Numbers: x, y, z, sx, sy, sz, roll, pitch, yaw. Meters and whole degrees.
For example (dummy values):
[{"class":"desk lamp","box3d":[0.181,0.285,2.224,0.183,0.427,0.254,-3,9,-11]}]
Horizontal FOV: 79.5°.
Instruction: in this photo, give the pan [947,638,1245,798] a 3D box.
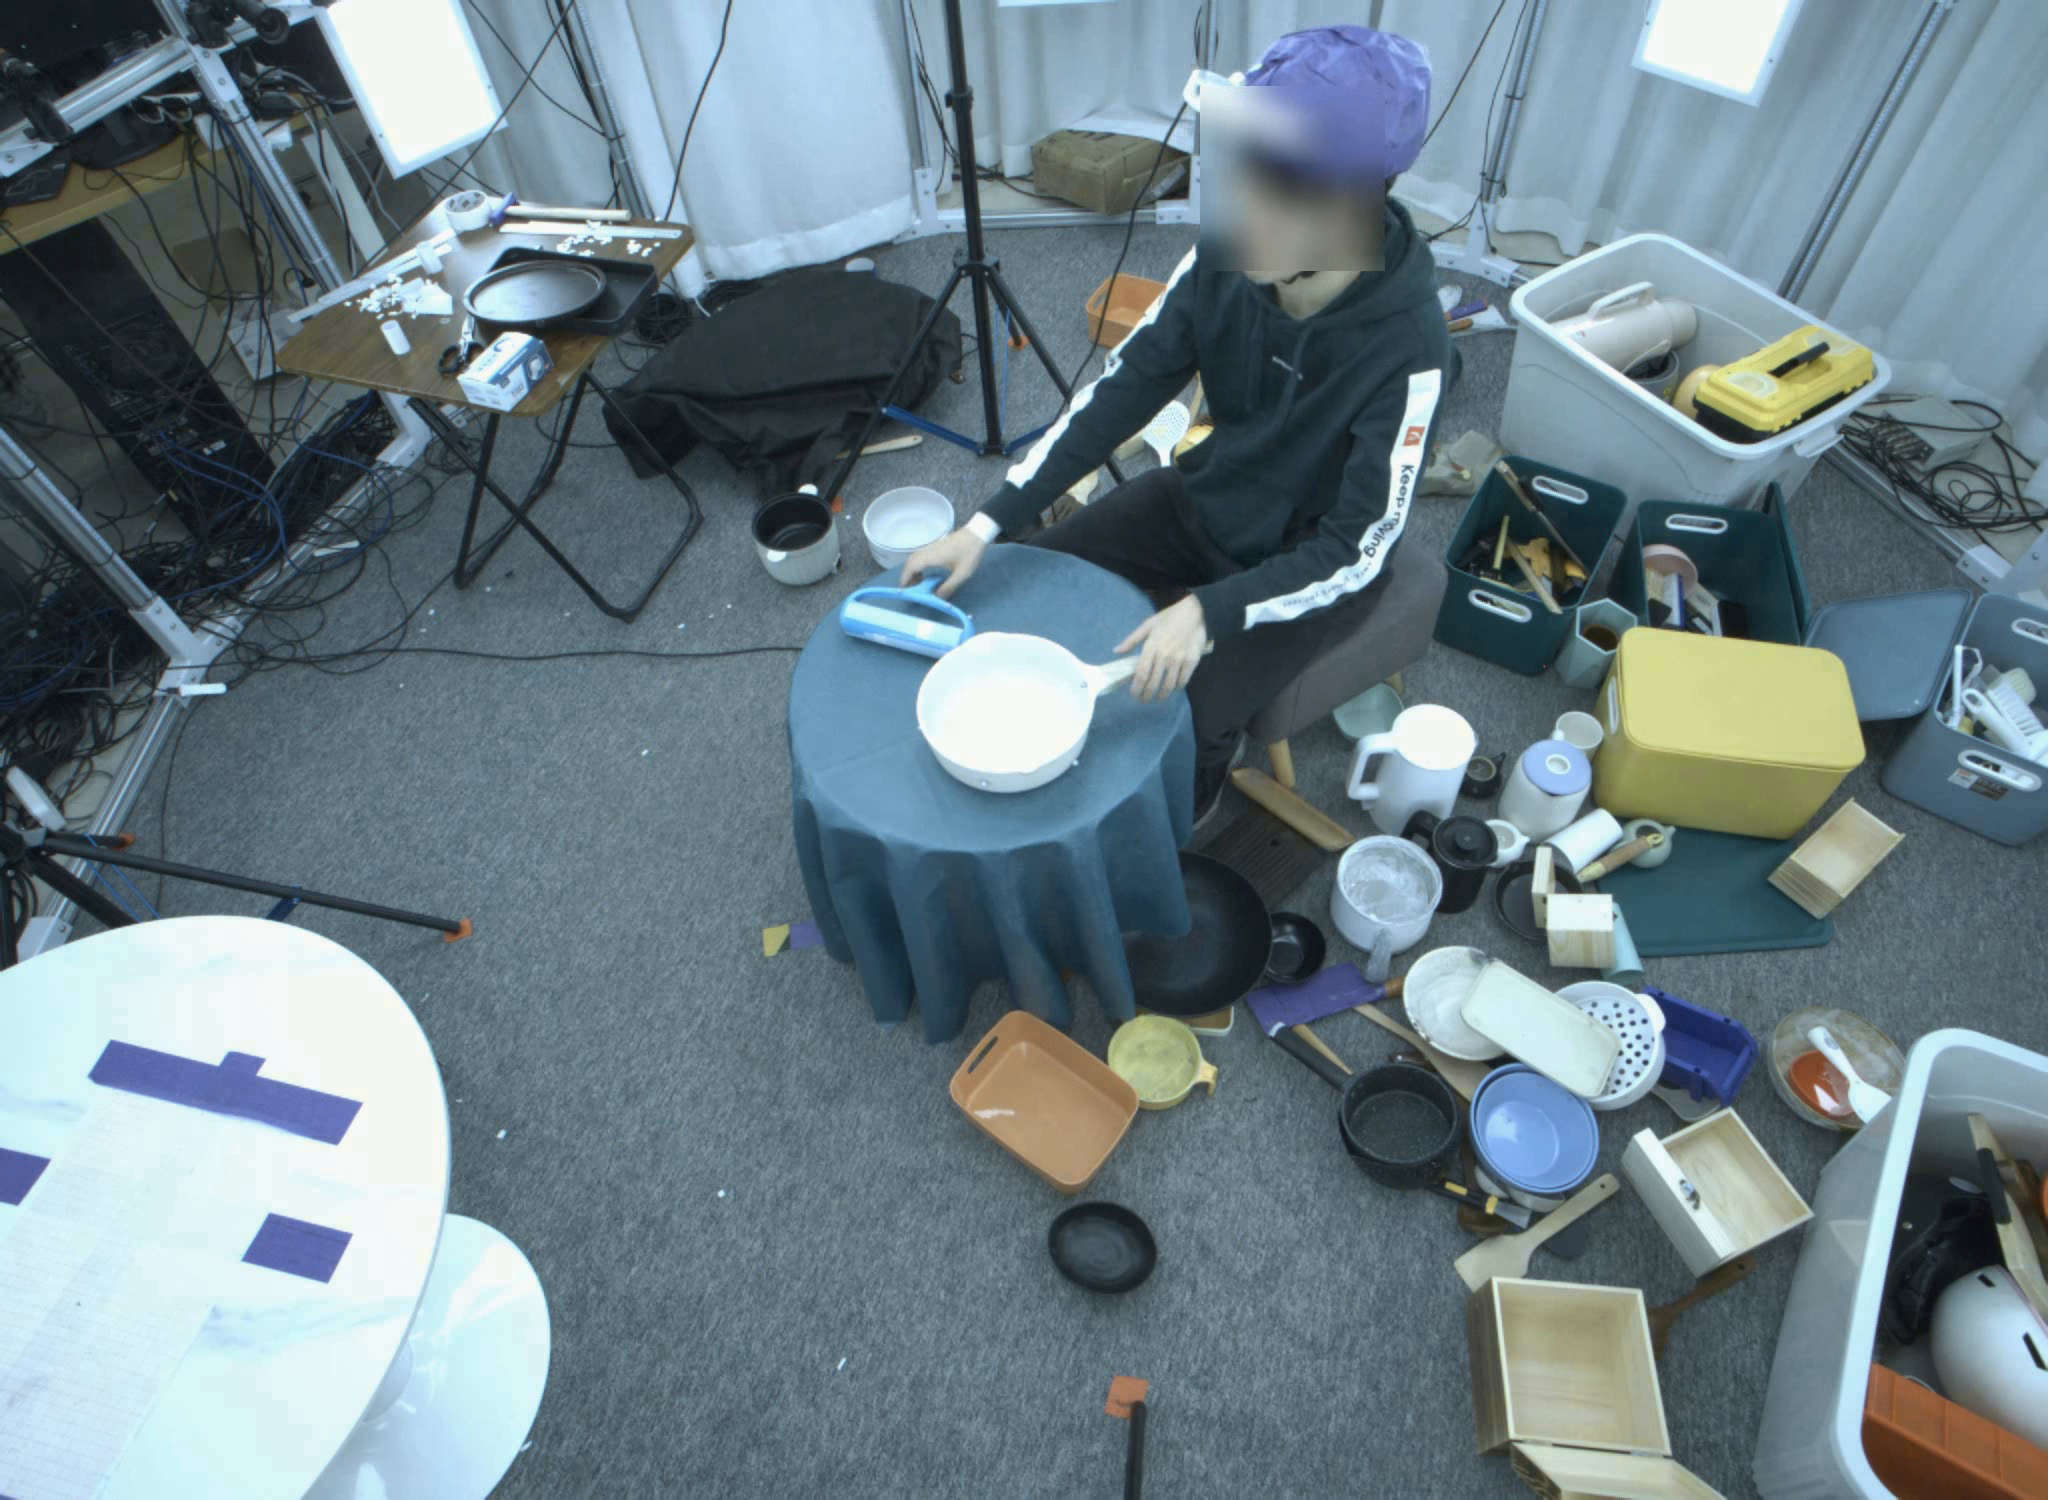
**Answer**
[{"class":"pan","box3d":[0.107,-0.065,1.763,0.437,0.103,0.259,-14,54,-8]}]

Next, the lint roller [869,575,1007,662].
[{"class":"lint roller","box3d":[-0.114,-0.226,1.912,0.226,0.069,0.180,14,56,14]}]
